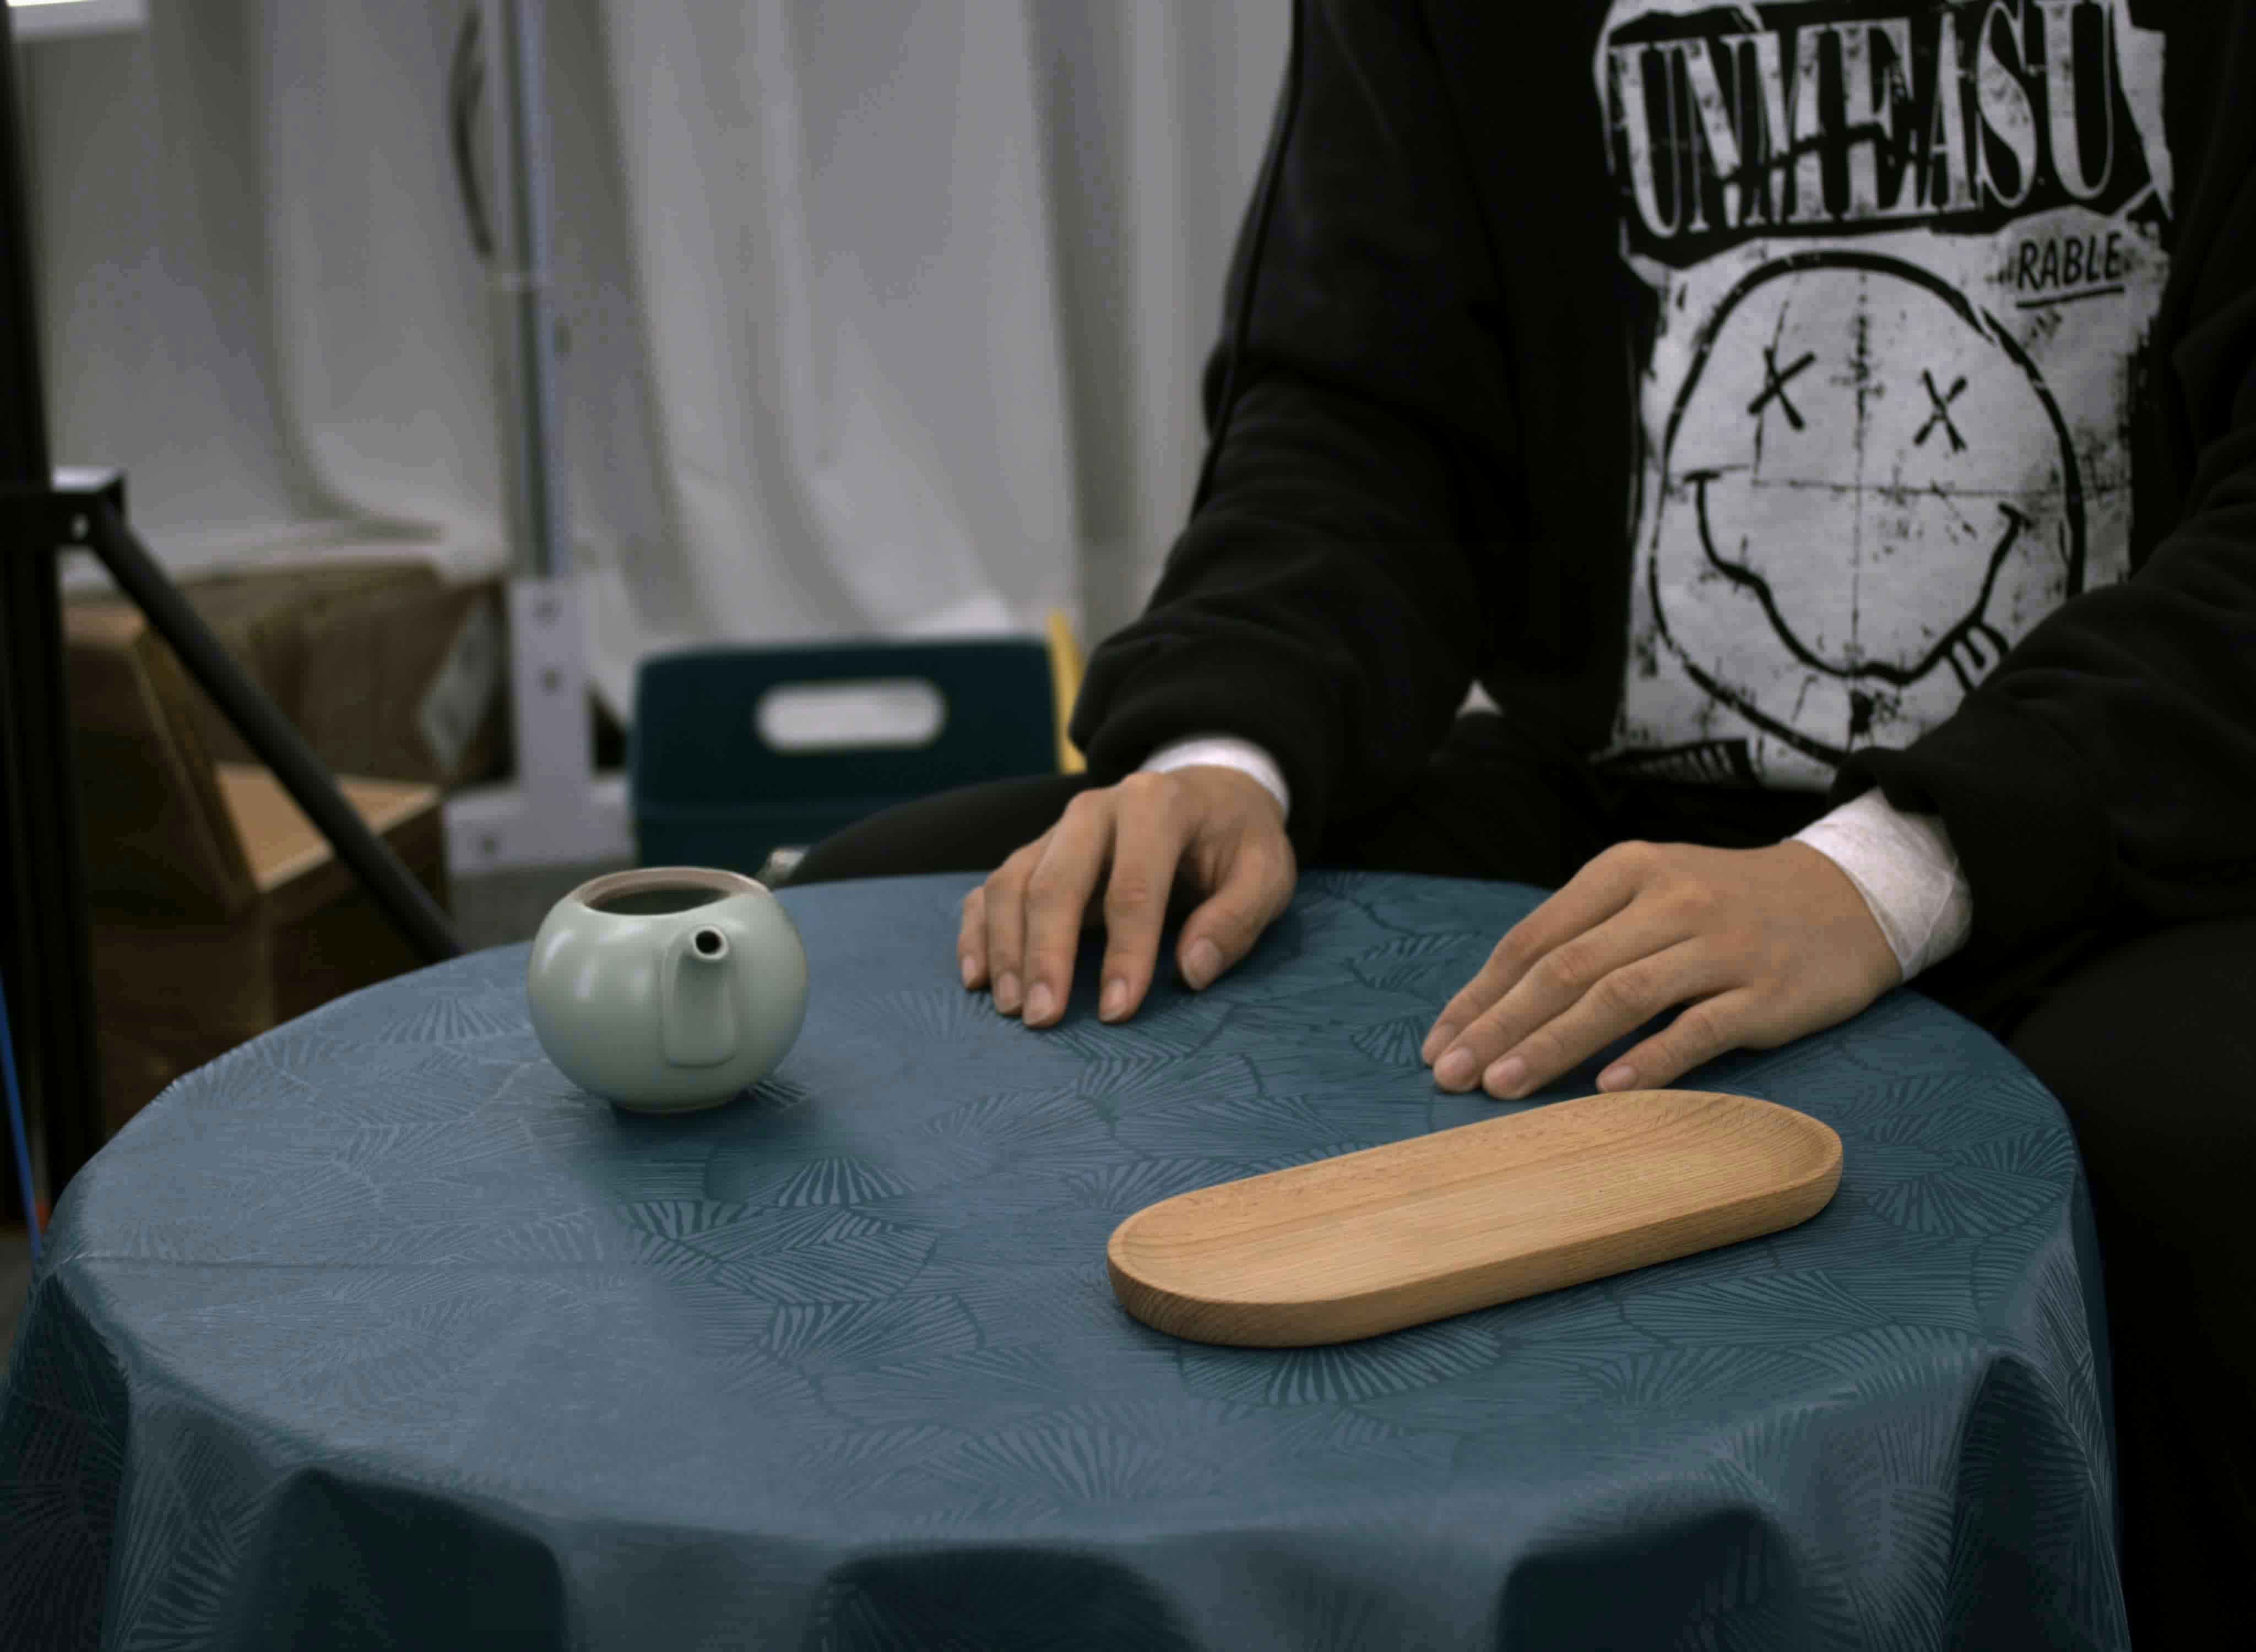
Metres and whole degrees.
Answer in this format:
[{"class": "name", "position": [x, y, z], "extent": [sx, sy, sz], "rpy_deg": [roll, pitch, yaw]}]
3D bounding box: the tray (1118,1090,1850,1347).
[{"class": "tray", "position": [0.103, 0.111, 1.500], "extent": [0.226, 0.020, 0.104], "rpy_deg": [-10, 19, -29]}]

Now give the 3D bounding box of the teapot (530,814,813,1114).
[{"class": "teapot", "position": [-0.142, 0.048, 1.657], "extent": [0.087, 0.075, 0.146], "rpy_deg": [-6, 18, -13]}]
